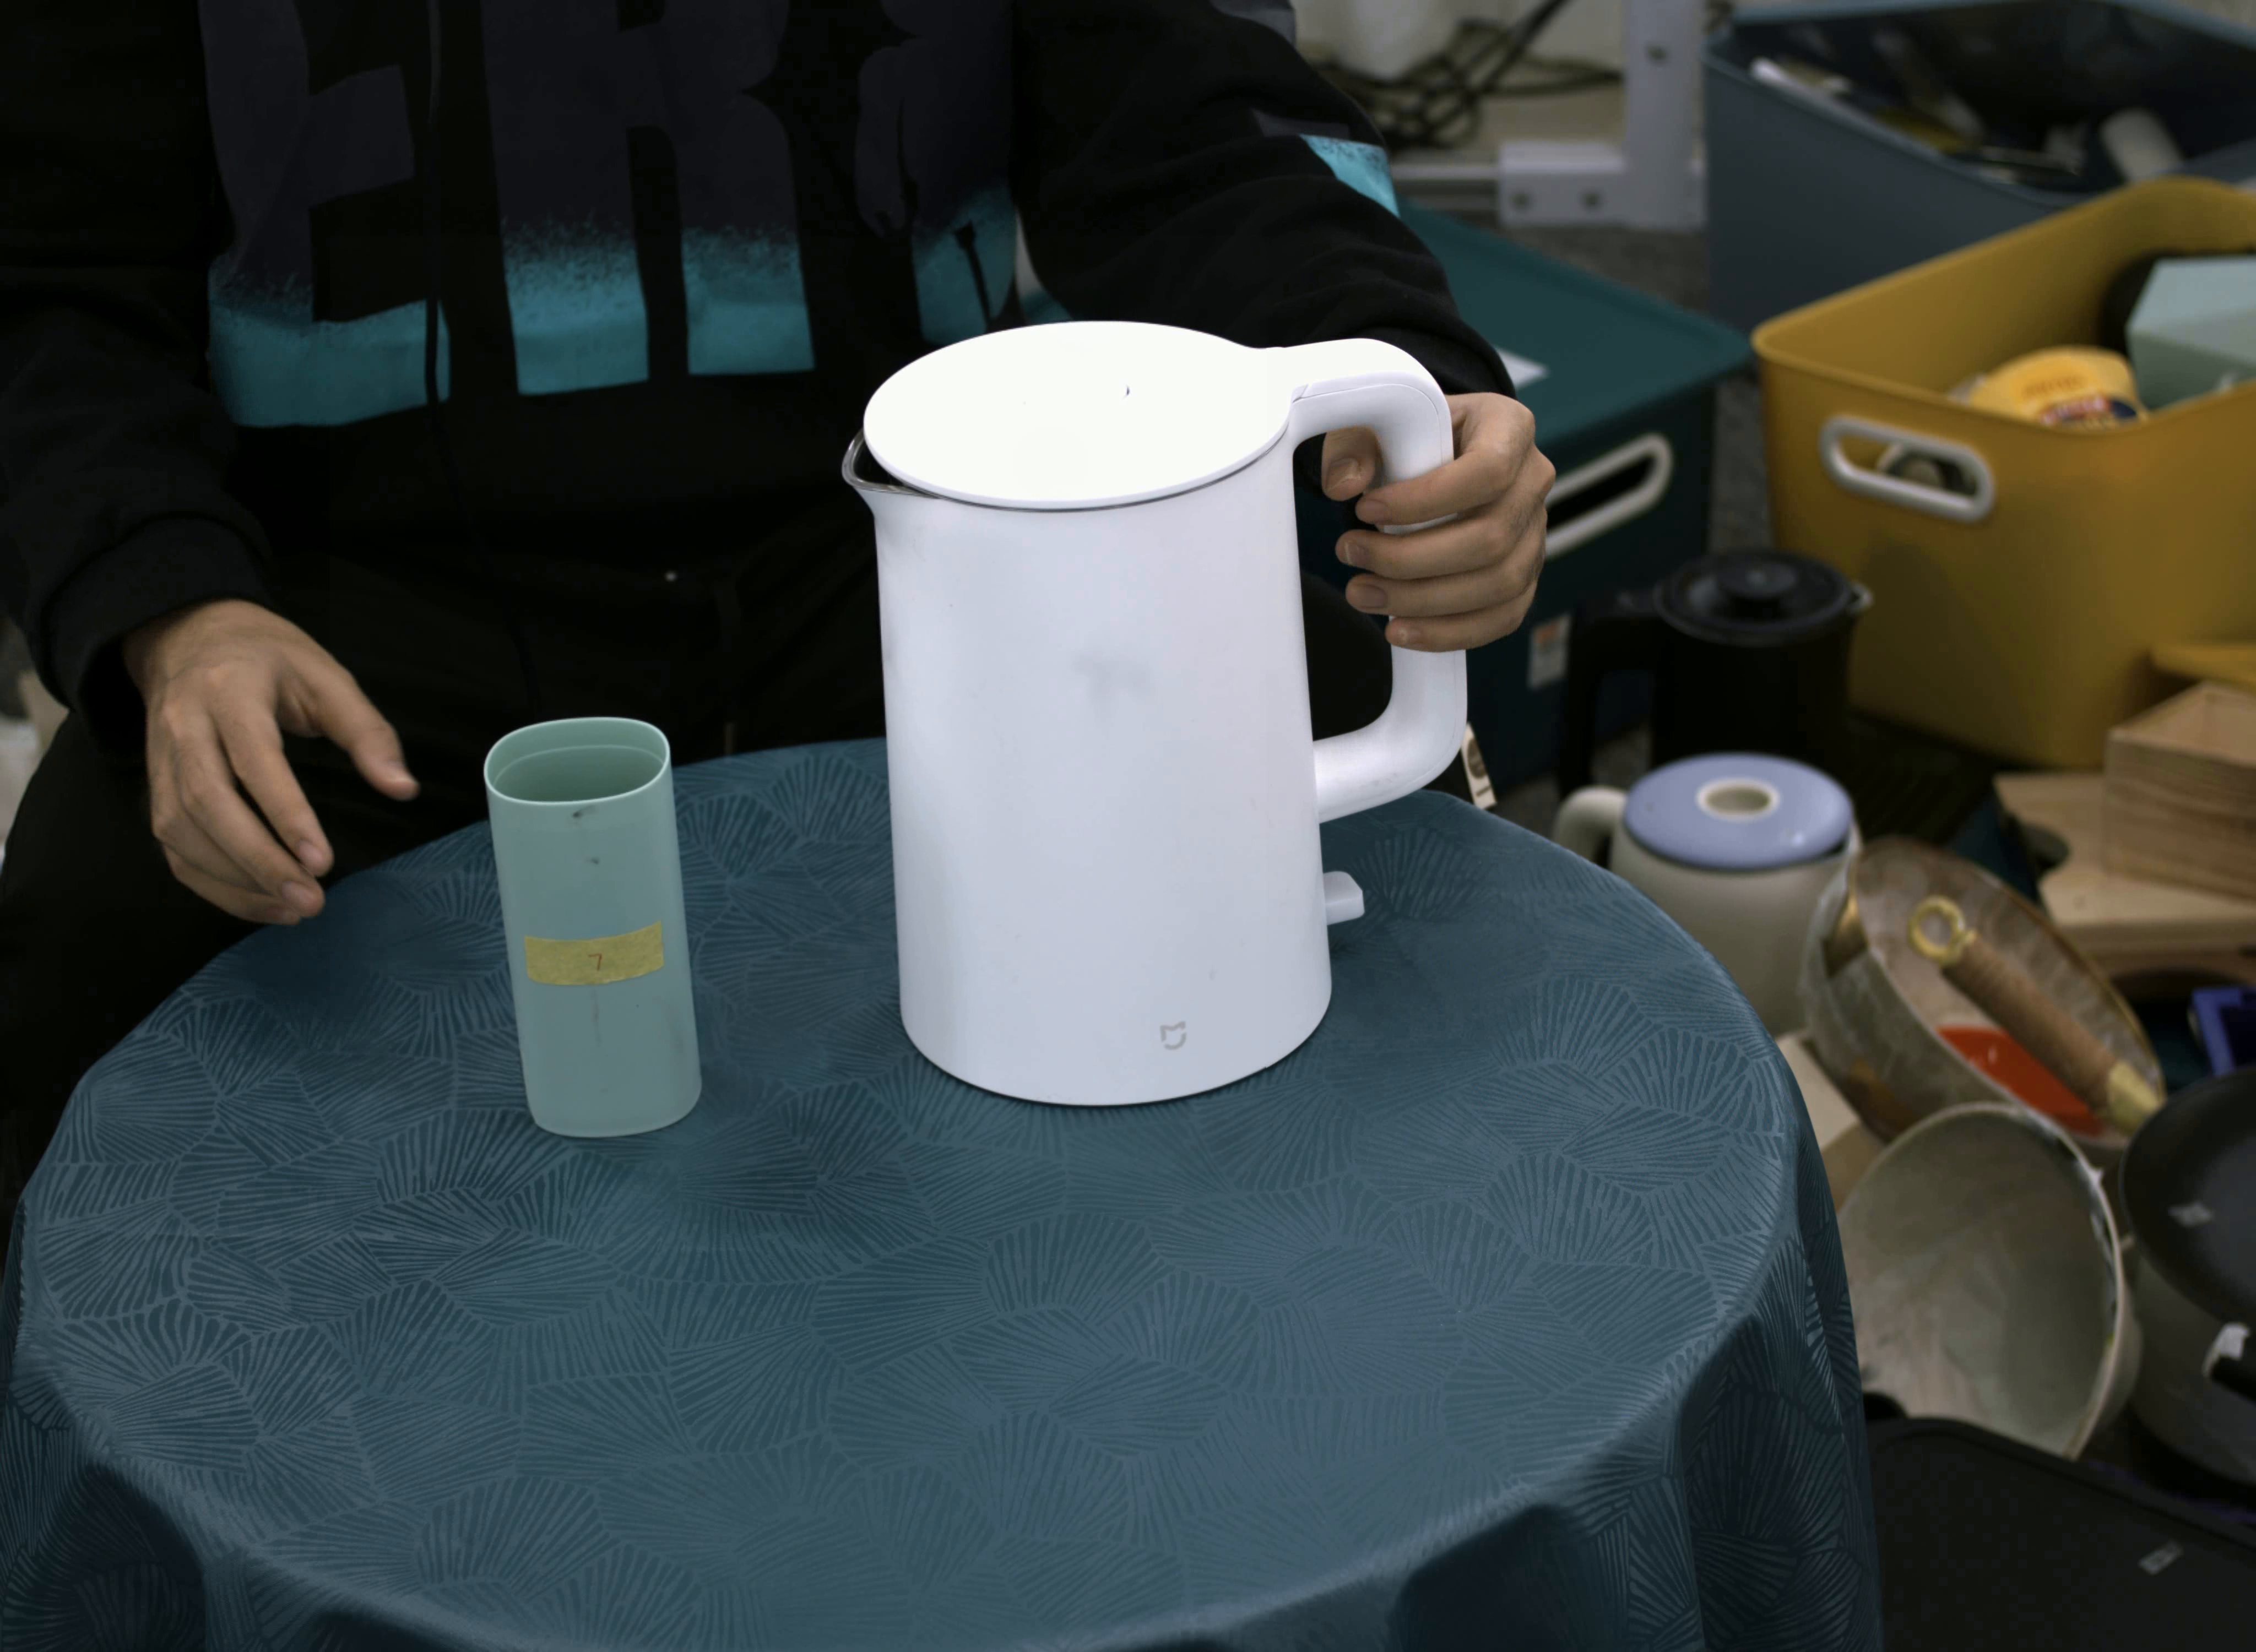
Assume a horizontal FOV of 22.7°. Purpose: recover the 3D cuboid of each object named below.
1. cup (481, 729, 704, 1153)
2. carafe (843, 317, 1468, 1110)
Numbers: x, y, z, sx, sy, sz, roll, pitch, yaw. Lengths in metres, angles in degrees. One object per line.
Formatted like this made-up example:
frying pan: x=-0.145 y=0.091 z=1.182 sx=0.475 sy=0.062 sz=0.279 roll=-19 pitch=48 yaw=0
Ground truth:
cup: x=-0.180 y=0.039 z=1.905 sx=0.066 sy=0.131 sz=0.068 roll=-3 pitch=27 yaw=2
carafe: x=0.014 y=-0.044 z=1.930 sx=0.213 sy=0.237 sz=0.153 roll=-12 pitch=29 yaw=-15
